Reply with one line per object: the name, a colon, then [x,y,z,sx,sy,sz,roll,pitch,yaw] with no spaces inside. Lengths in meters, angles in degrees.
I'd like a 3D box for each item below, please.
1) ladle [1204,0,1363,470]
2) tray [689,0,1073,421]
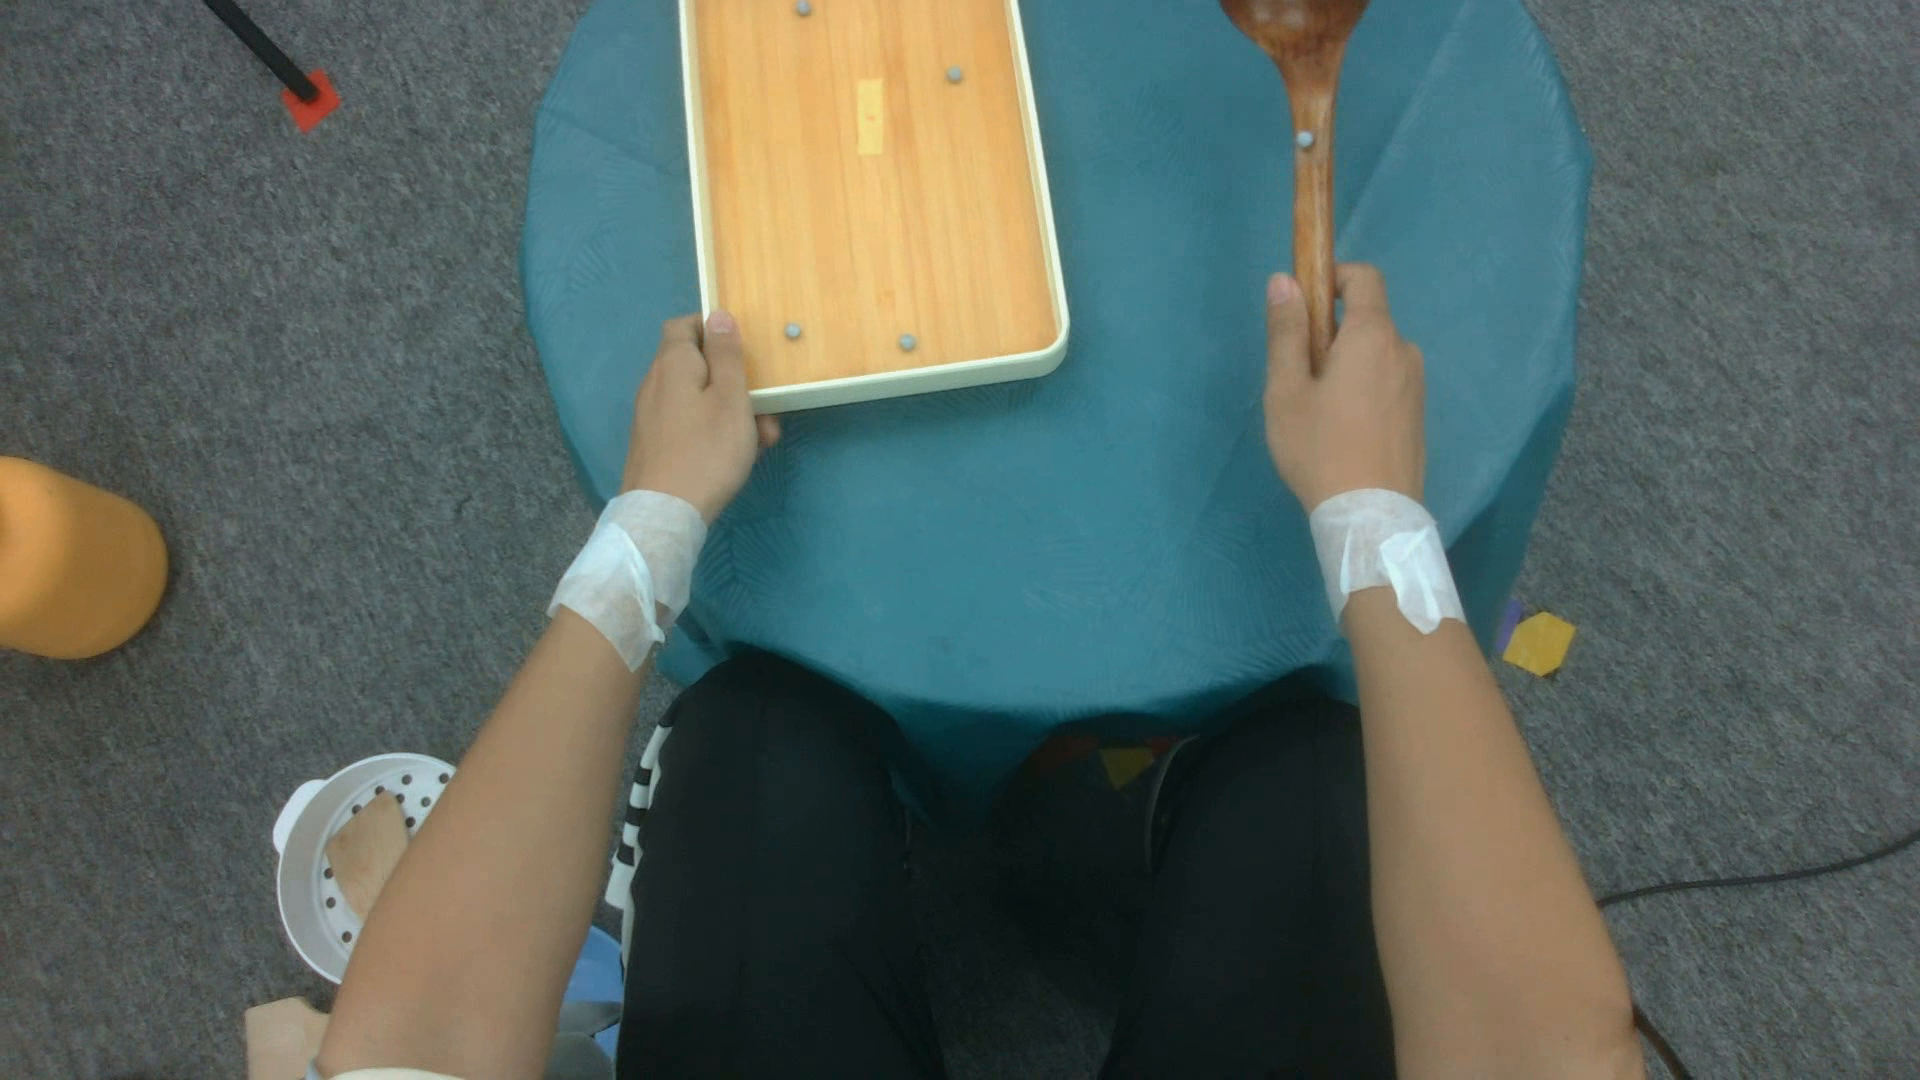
ladle: [0.162,-0.174,0.679,0.081,0.077,0.274,-4,83,39]
tray: [-0.050,-0.218,0.781,0.191,0.027,0.301,-8,70,0]
